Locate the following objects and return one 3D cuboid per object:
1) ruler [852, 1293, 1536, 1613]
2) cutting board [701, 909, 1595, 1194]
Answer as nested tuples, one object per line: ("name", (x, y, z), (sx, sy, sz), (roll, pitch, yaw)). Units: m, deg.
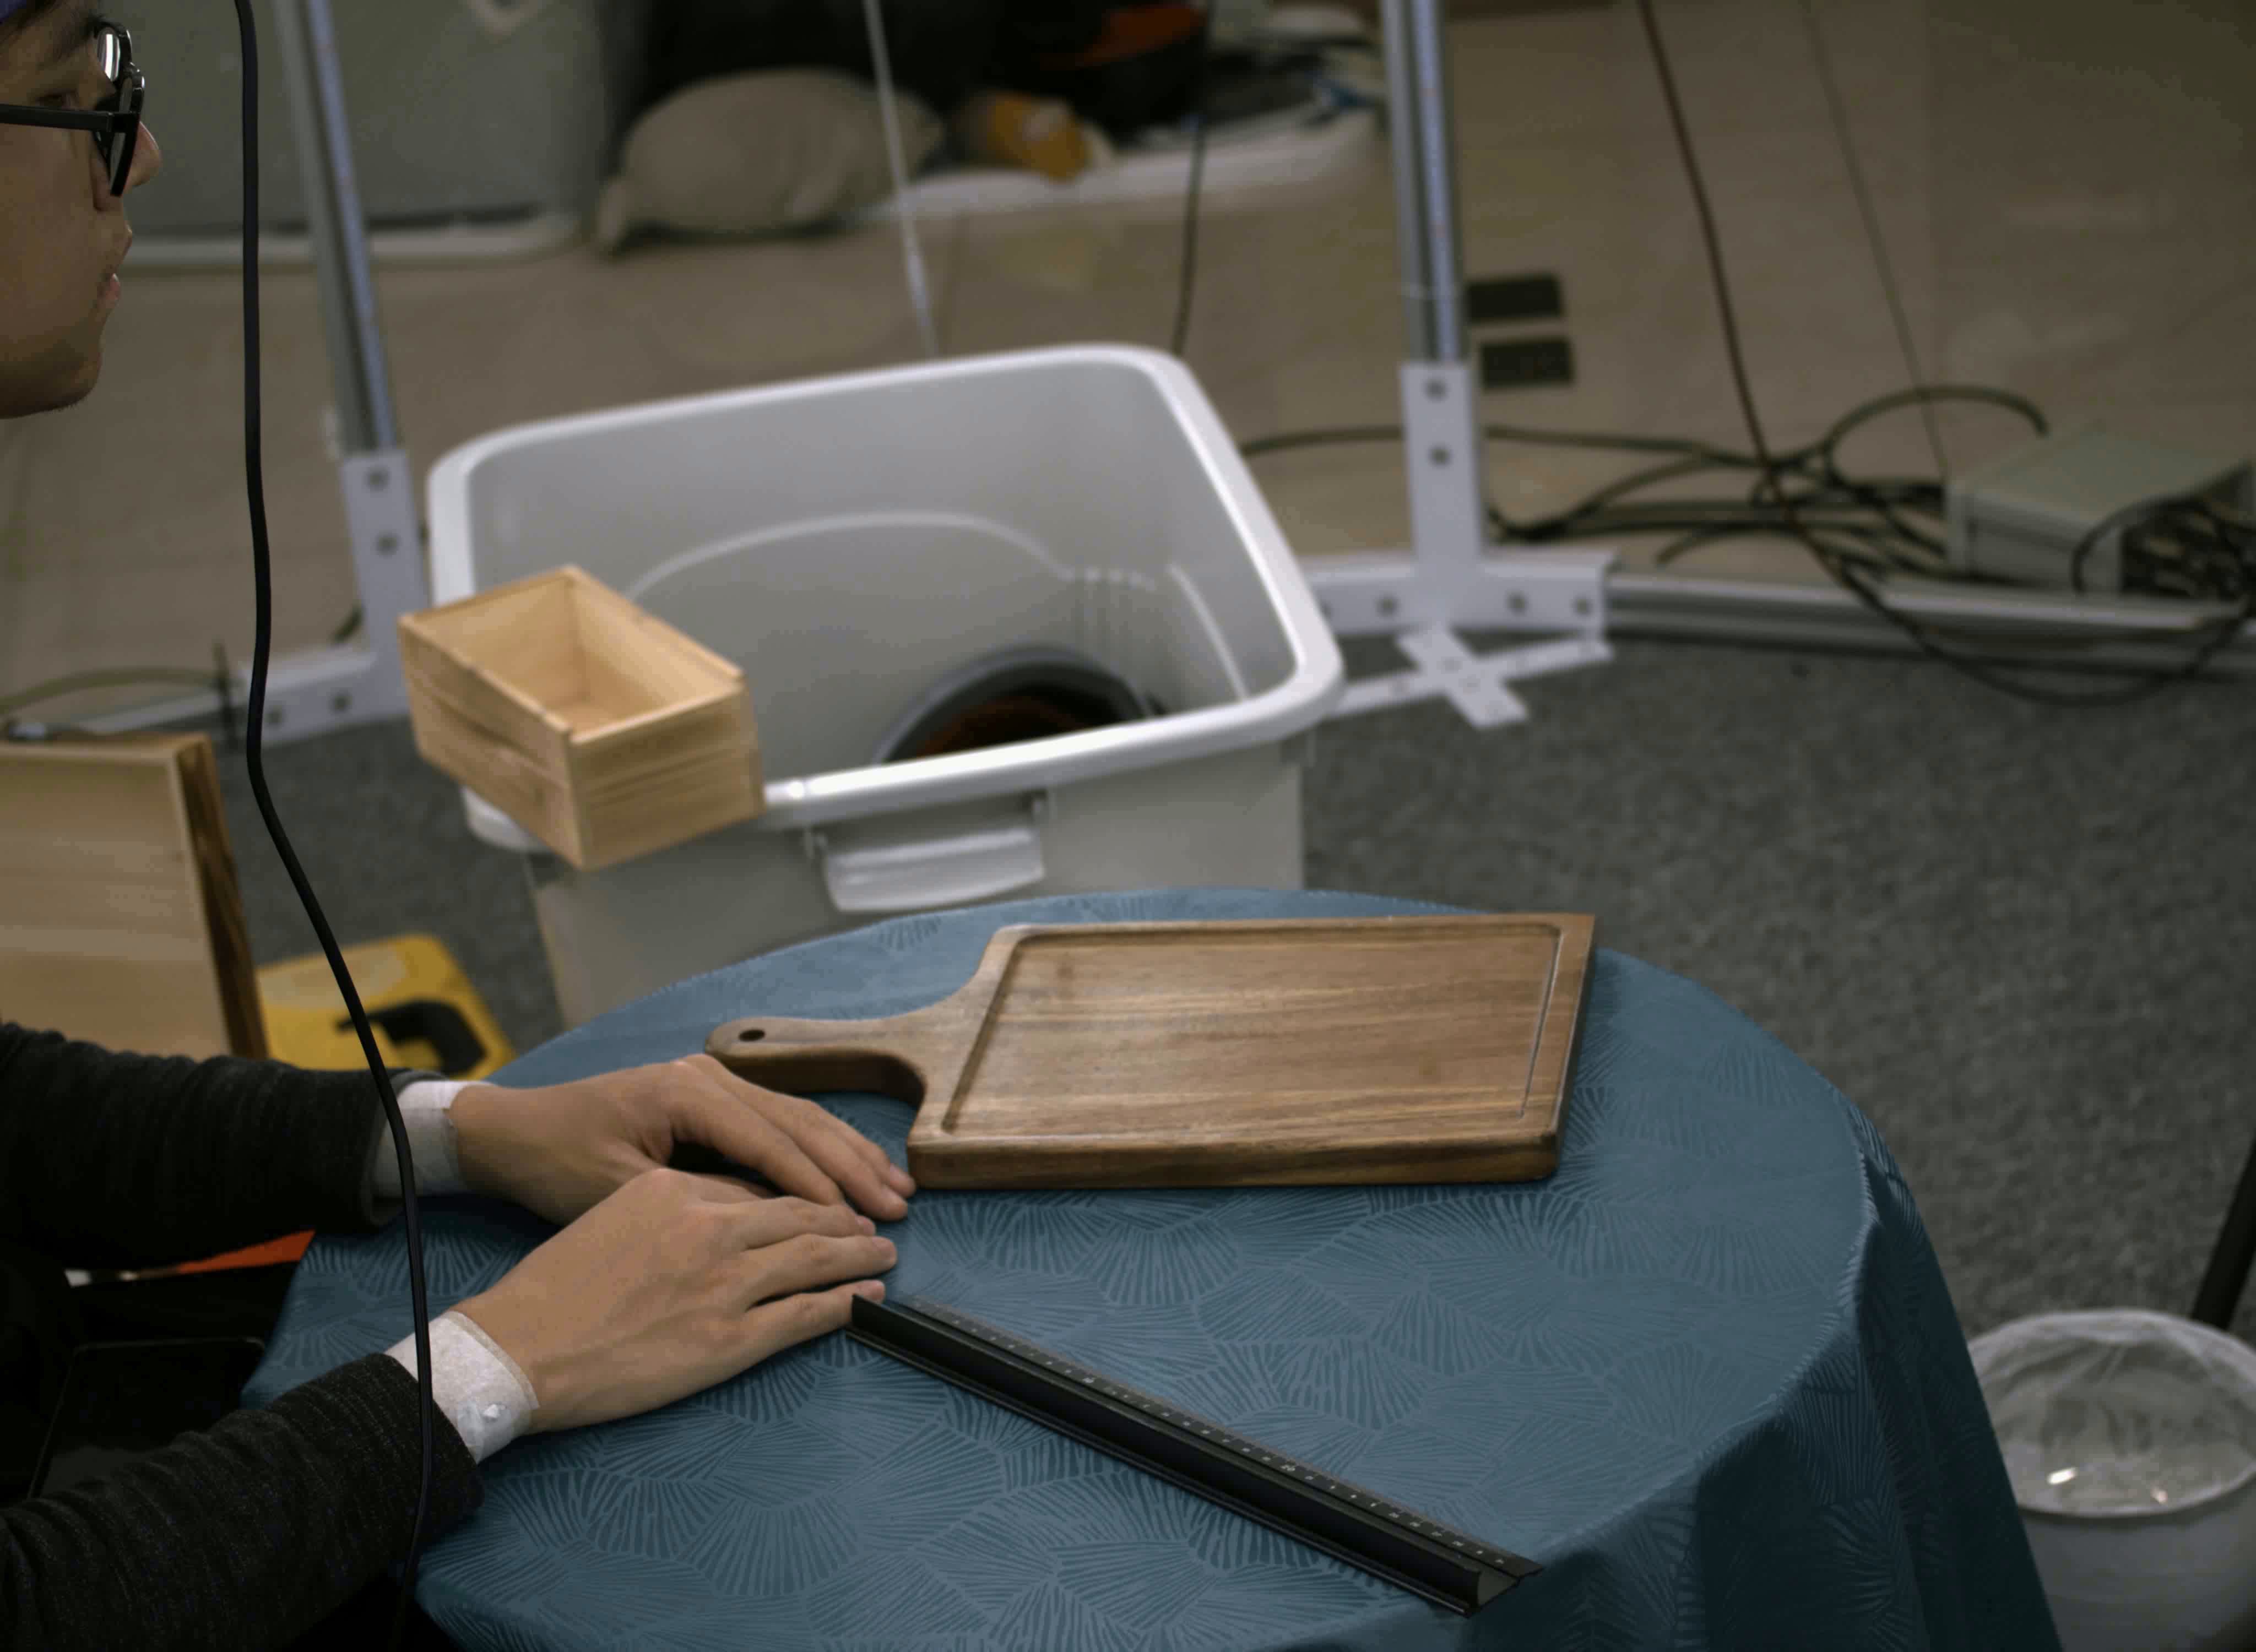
("ruler", (0.017, 0.209, 1.975), (0.039, 0.017, 0.310), (-24, 30, -38))
("cutting board", (0.004, 0.088, 2.232), (0.351, 0.023, 0.198), (-2, 25, 11))
